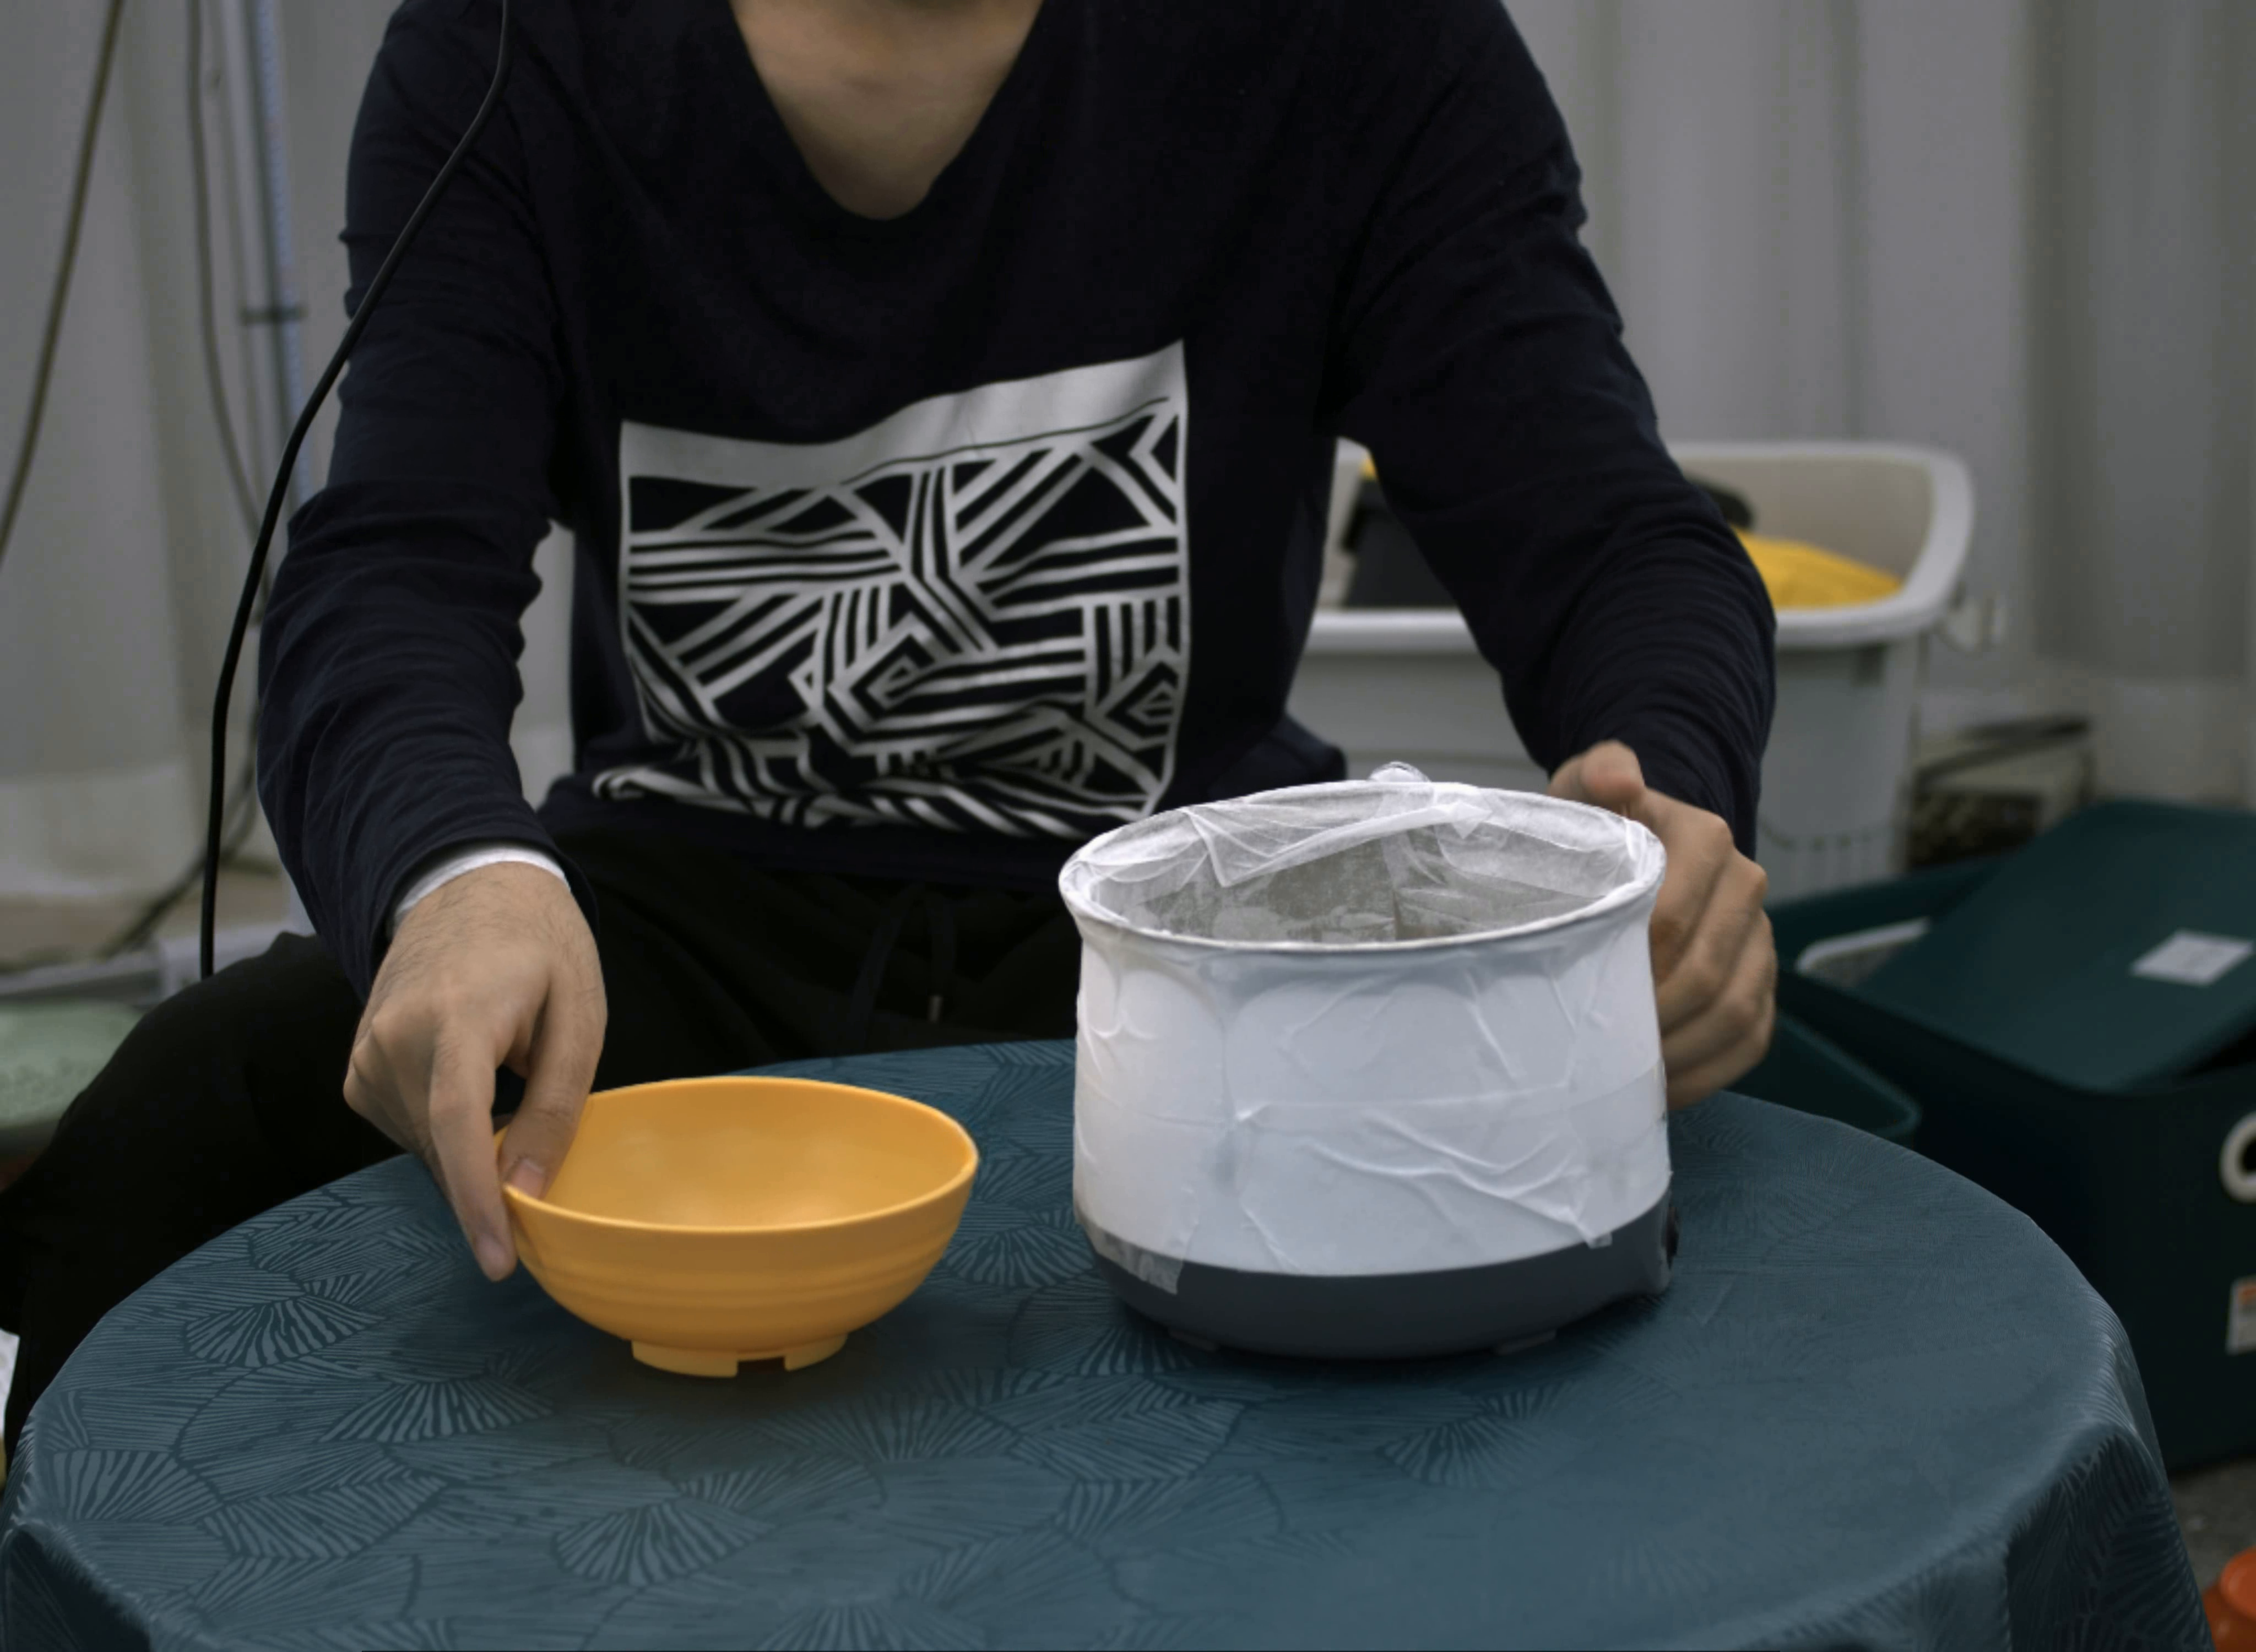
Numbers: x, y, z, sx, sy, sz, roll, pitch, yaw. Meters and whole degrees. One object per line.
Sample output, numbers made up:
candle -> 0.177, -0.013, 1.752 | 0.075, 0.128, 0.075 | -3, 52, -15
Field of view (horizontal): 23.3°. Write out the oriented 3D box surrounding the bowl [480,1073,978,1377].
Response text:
bowl -> -0.116, 0.121, 1.593 | 0.145, 0.060, 0.146 | 0, 14, 0

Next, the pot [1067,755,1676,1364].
pot -> 0.074, 0.064, 1.628 | 0.178, 0.136, 0.235 | 2, 16, 7
